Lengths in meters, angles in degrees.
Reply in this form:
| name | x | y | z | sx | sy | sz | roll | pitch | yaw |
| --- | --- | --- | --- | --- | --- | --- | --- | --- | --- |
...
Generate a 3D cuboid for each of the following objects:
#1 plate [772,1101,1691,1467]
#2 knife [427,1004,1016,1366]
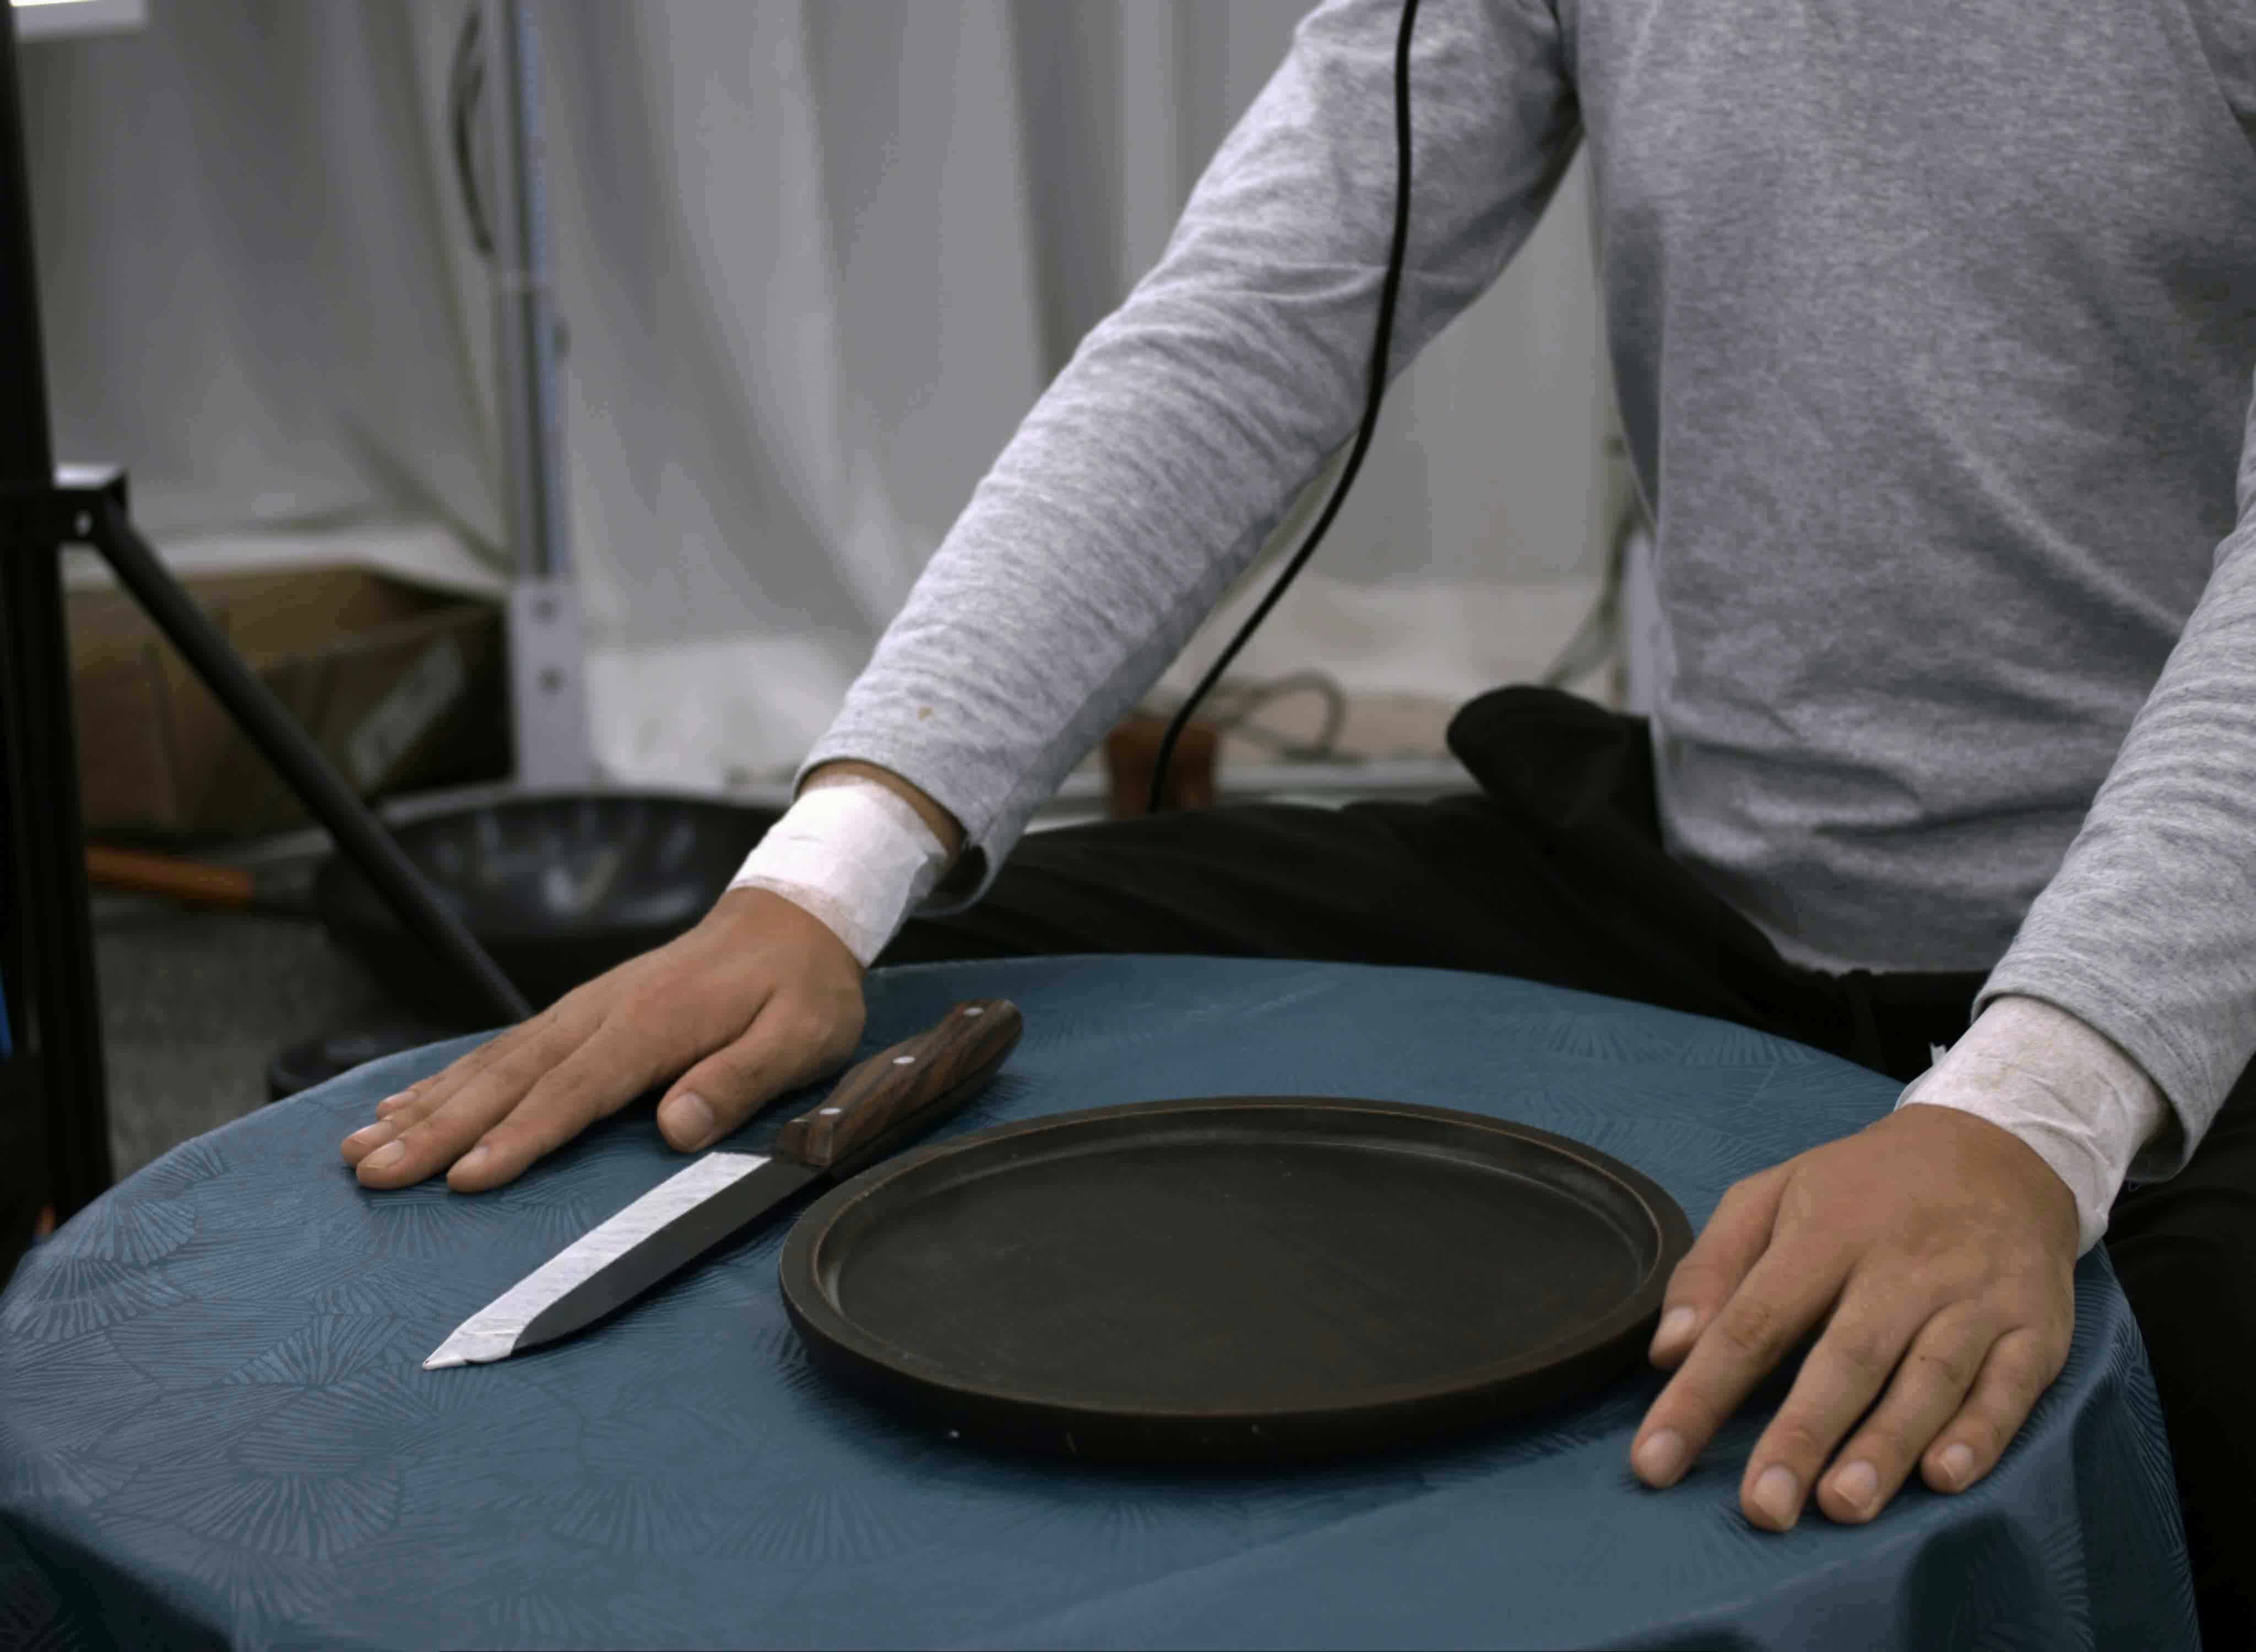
| name | x | y | z | sx | sy | sz | roll | pitch | yaw |
| --- | --- | --- | --- | --- | --- | --- | --- | --- | --- |
| plate | 0.029 | 0.123 | 1.459 | 0.253 | 0.029 | 0.256 | -3 | 14 | -1 |
| knife | -0.114 | 0.106 | 1.562 | 0.051 | 0.020 | 0.284 | 1 | 18 | 32 |
